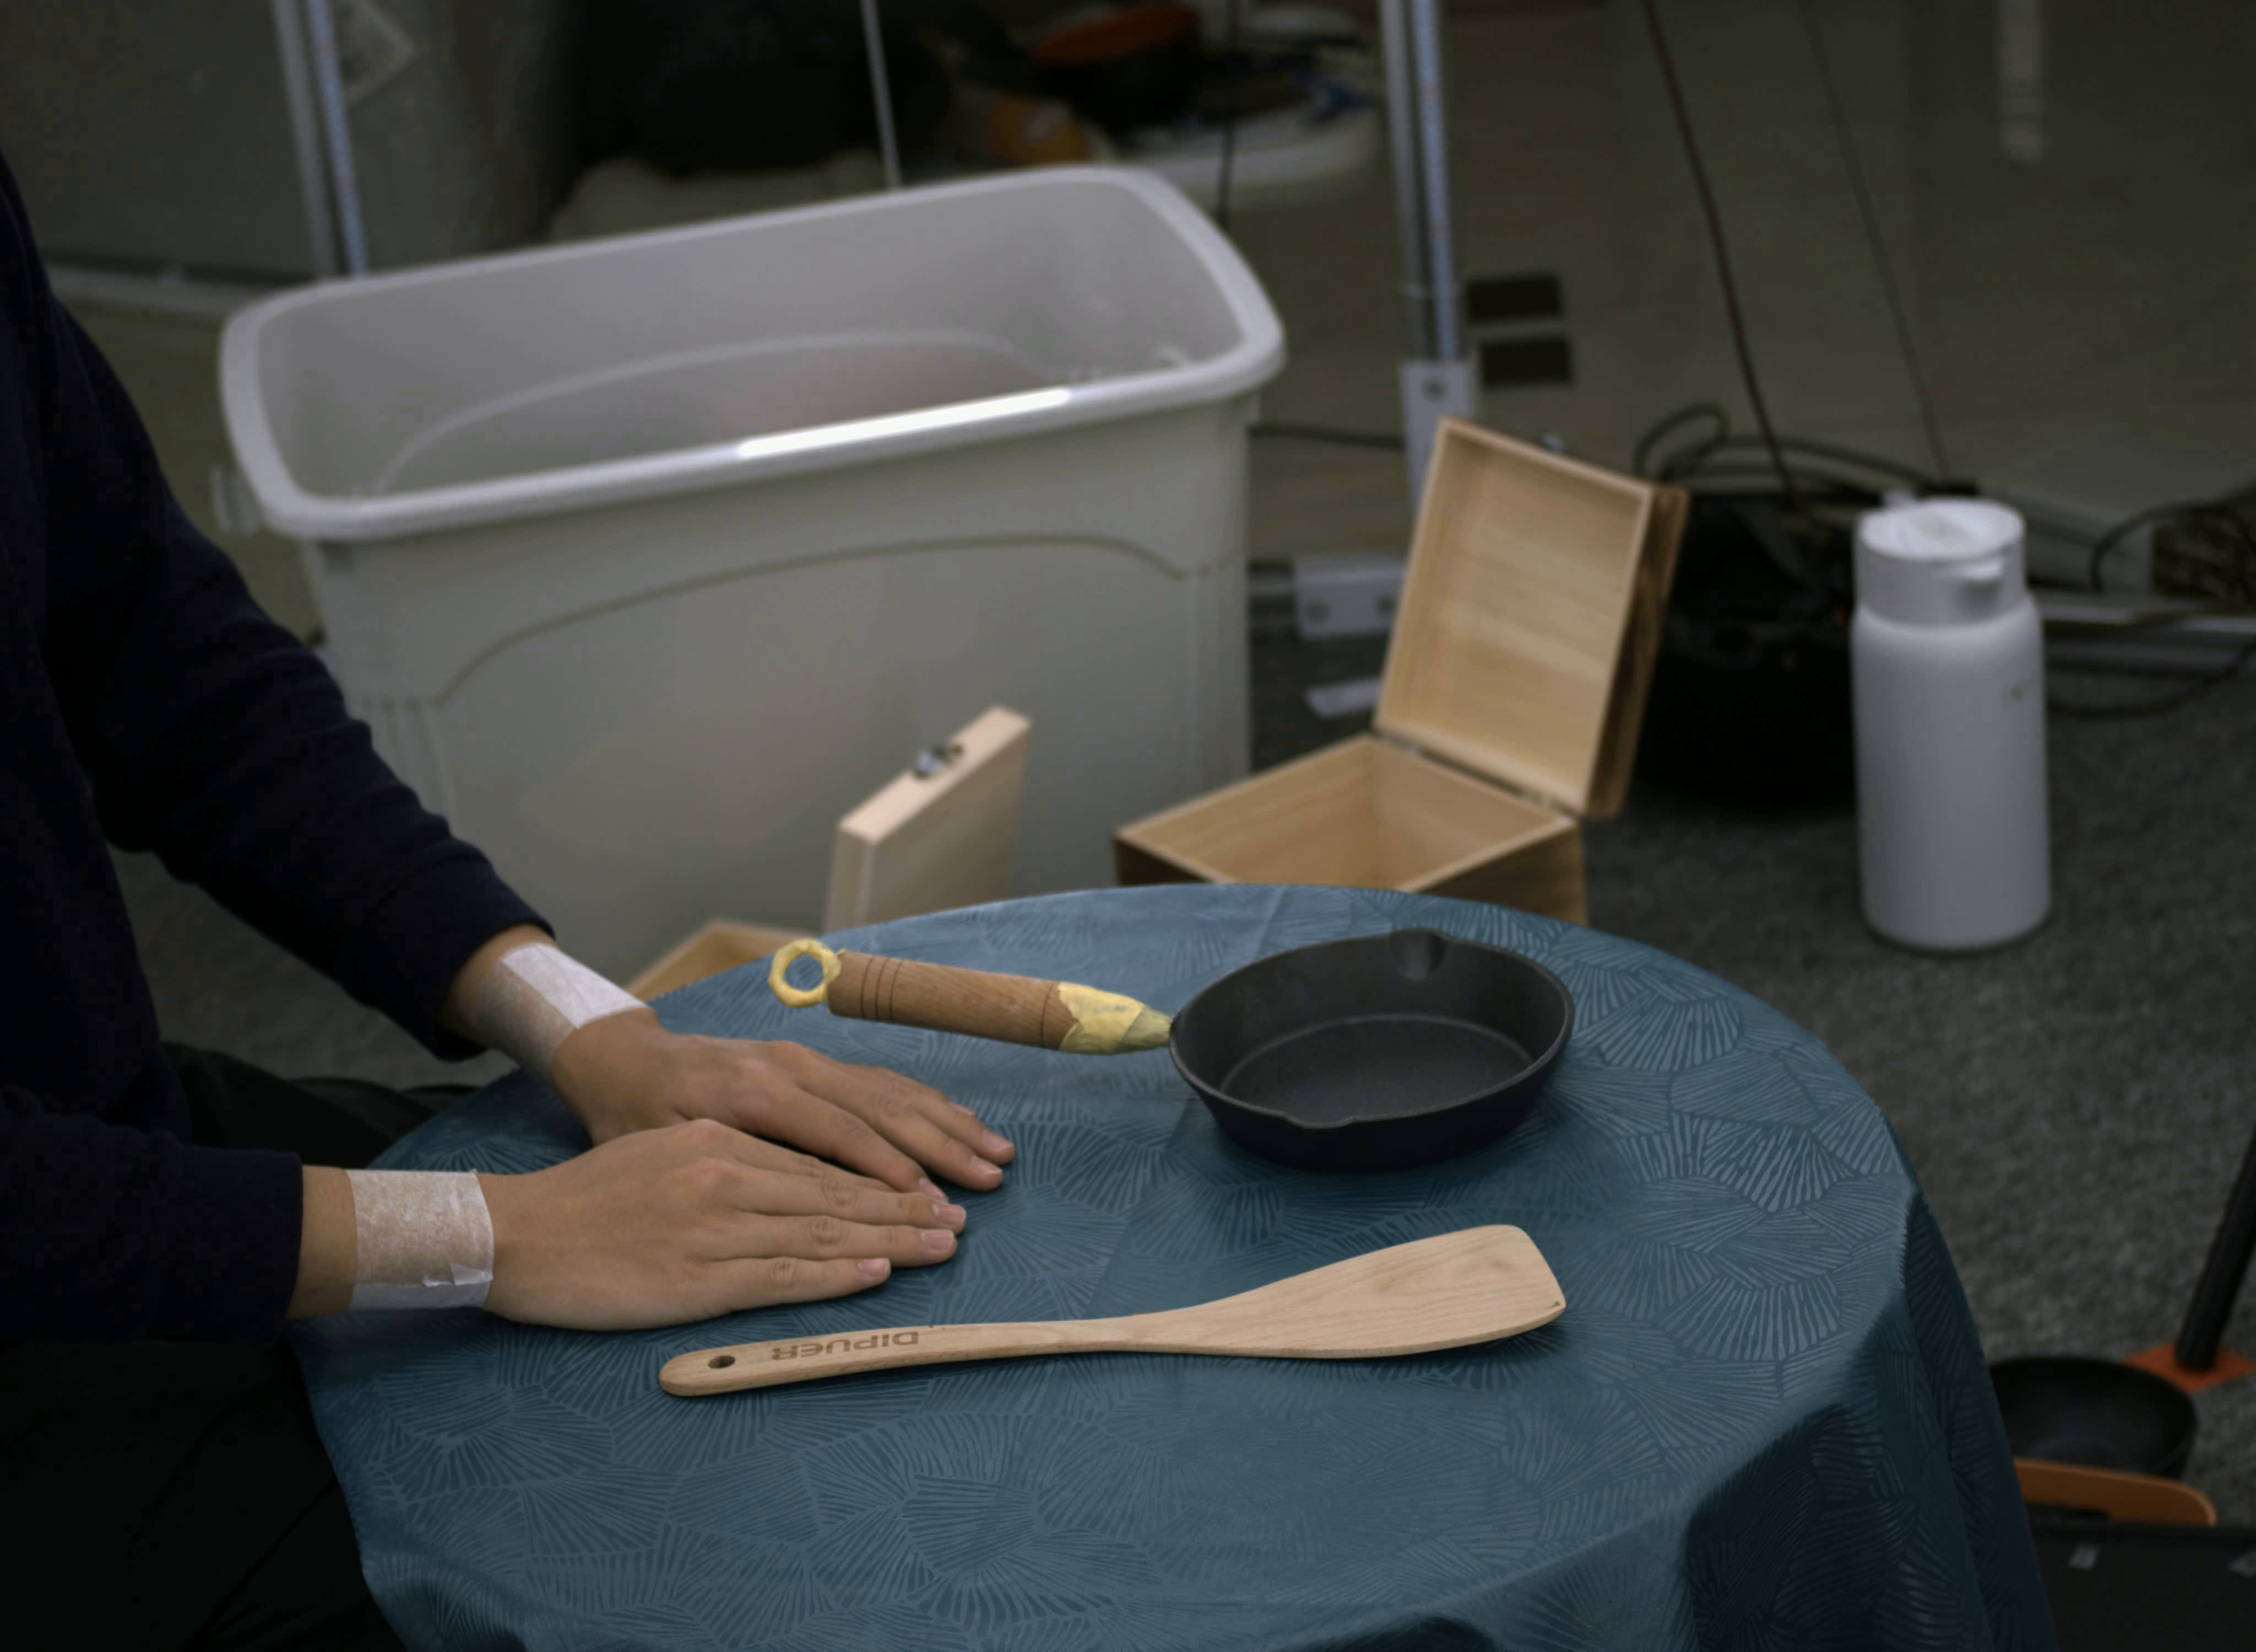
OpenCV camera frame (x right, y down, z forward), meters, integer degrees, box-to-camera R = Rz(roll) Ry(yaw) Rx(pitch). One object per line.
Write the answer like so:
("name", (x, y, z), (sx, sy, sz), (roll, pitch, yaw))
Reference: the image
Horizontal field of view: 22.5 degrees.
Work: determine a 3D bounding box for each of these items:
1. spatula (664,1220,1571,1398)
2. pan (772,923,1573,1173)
("spatula", (-0.005, 0.179, 2.044), (0.327, 0.017, 0.079), (-6, 24, 2))
("pan", (0.015, 0.078, 2.212), (0.323, 0.050, 0.166), (4, 27, 19))
